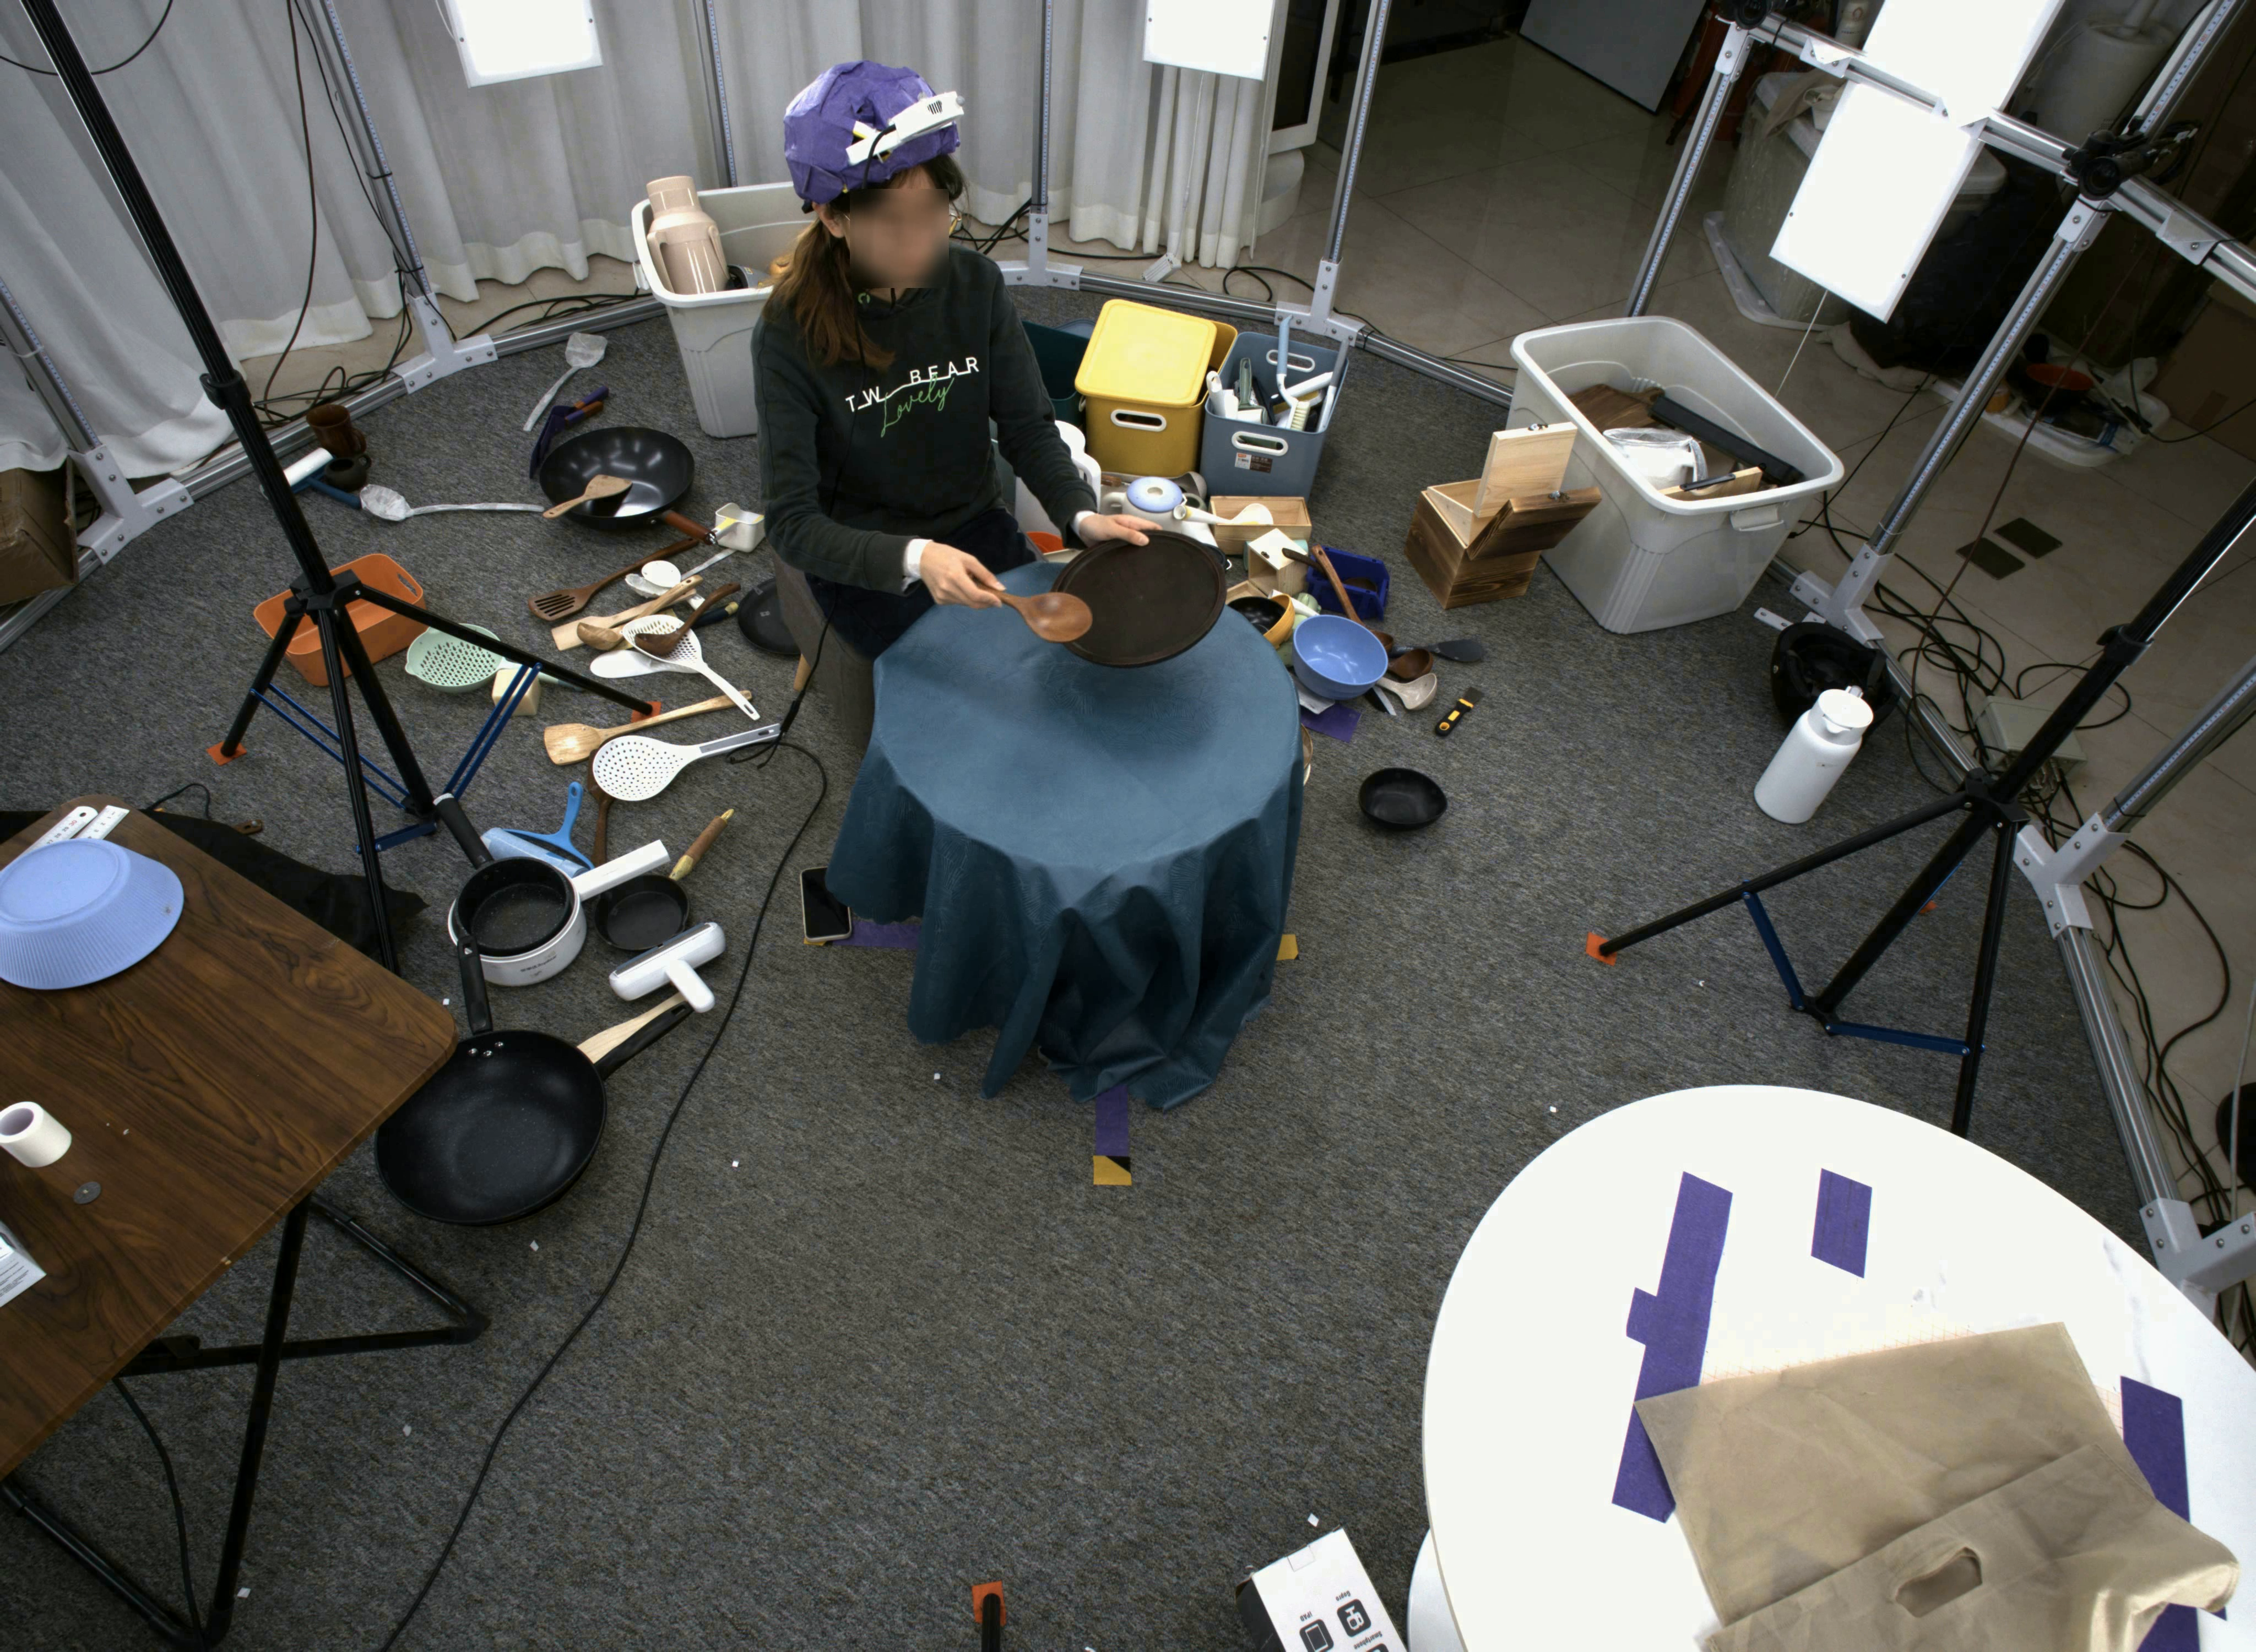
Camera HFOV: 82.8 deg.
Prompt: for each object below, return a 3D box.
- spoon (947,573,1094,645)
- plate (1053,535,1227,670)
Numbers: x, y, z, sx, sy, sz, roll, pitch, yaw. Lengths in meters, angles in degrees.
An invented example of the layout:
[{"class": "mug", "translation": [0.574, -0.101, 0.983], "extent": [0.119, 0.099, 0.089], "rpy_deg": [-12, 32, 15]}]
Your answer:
[{"class": "spoon", "translation": [-0.144, -0.295, 1.714], "extent": [0.217, 0.017, 0.076], "rpy_deg": [22, 70, 15]}, {"class": "plate", "translation": [0.014, -0.315, 1.808], "extent": [0.255, 0.028, 0.261], "rpy_deg": [-6, 53, 8]}]
